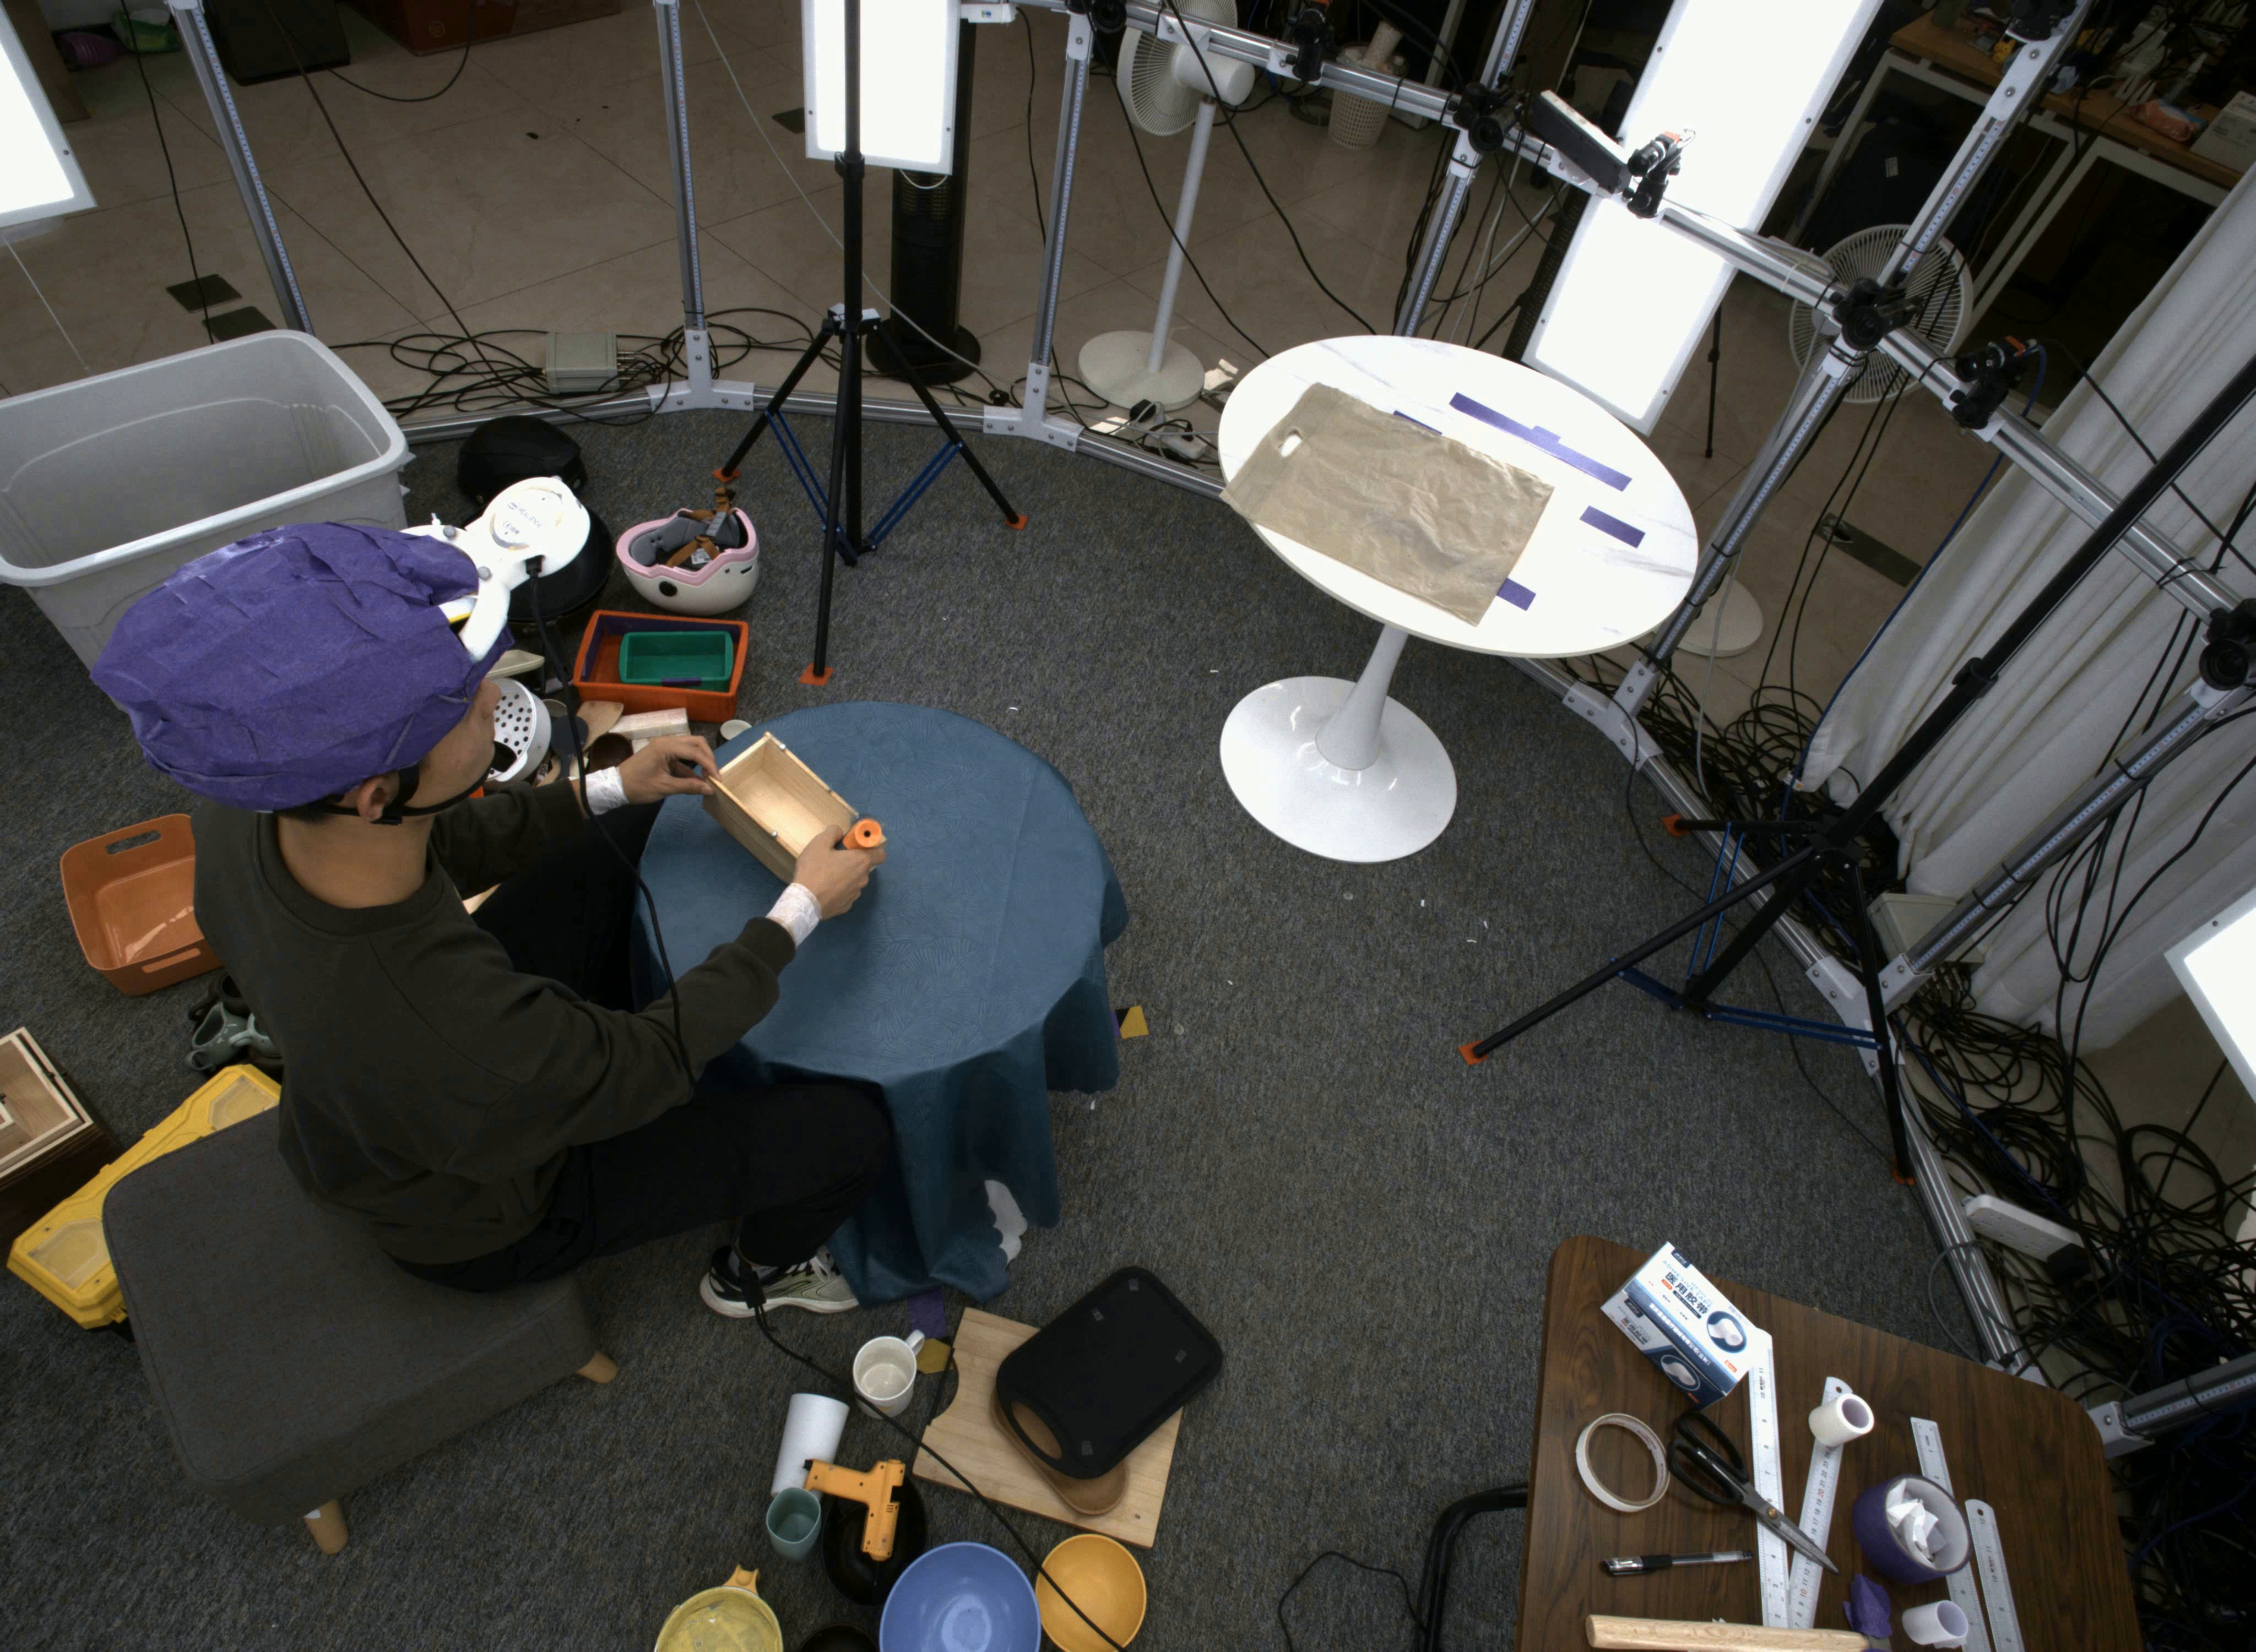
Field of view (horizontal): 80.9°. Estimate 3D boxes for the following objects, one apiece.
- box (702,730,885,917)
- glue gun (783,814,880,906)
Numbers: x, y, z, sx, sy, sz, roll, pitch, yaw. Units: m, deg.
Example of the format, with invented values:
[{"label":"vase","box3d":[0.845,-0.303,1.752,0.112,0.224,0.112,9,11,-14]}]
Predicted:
[{"label":"box","box3d":[-0.425,-0.004,1.644,0.211,0.080,0.107,41,55,2]},{"label":"glue gun","box3d":[-0.349,0.032,1.563,0.041,0.116,0.140,48,66,-10]}]
